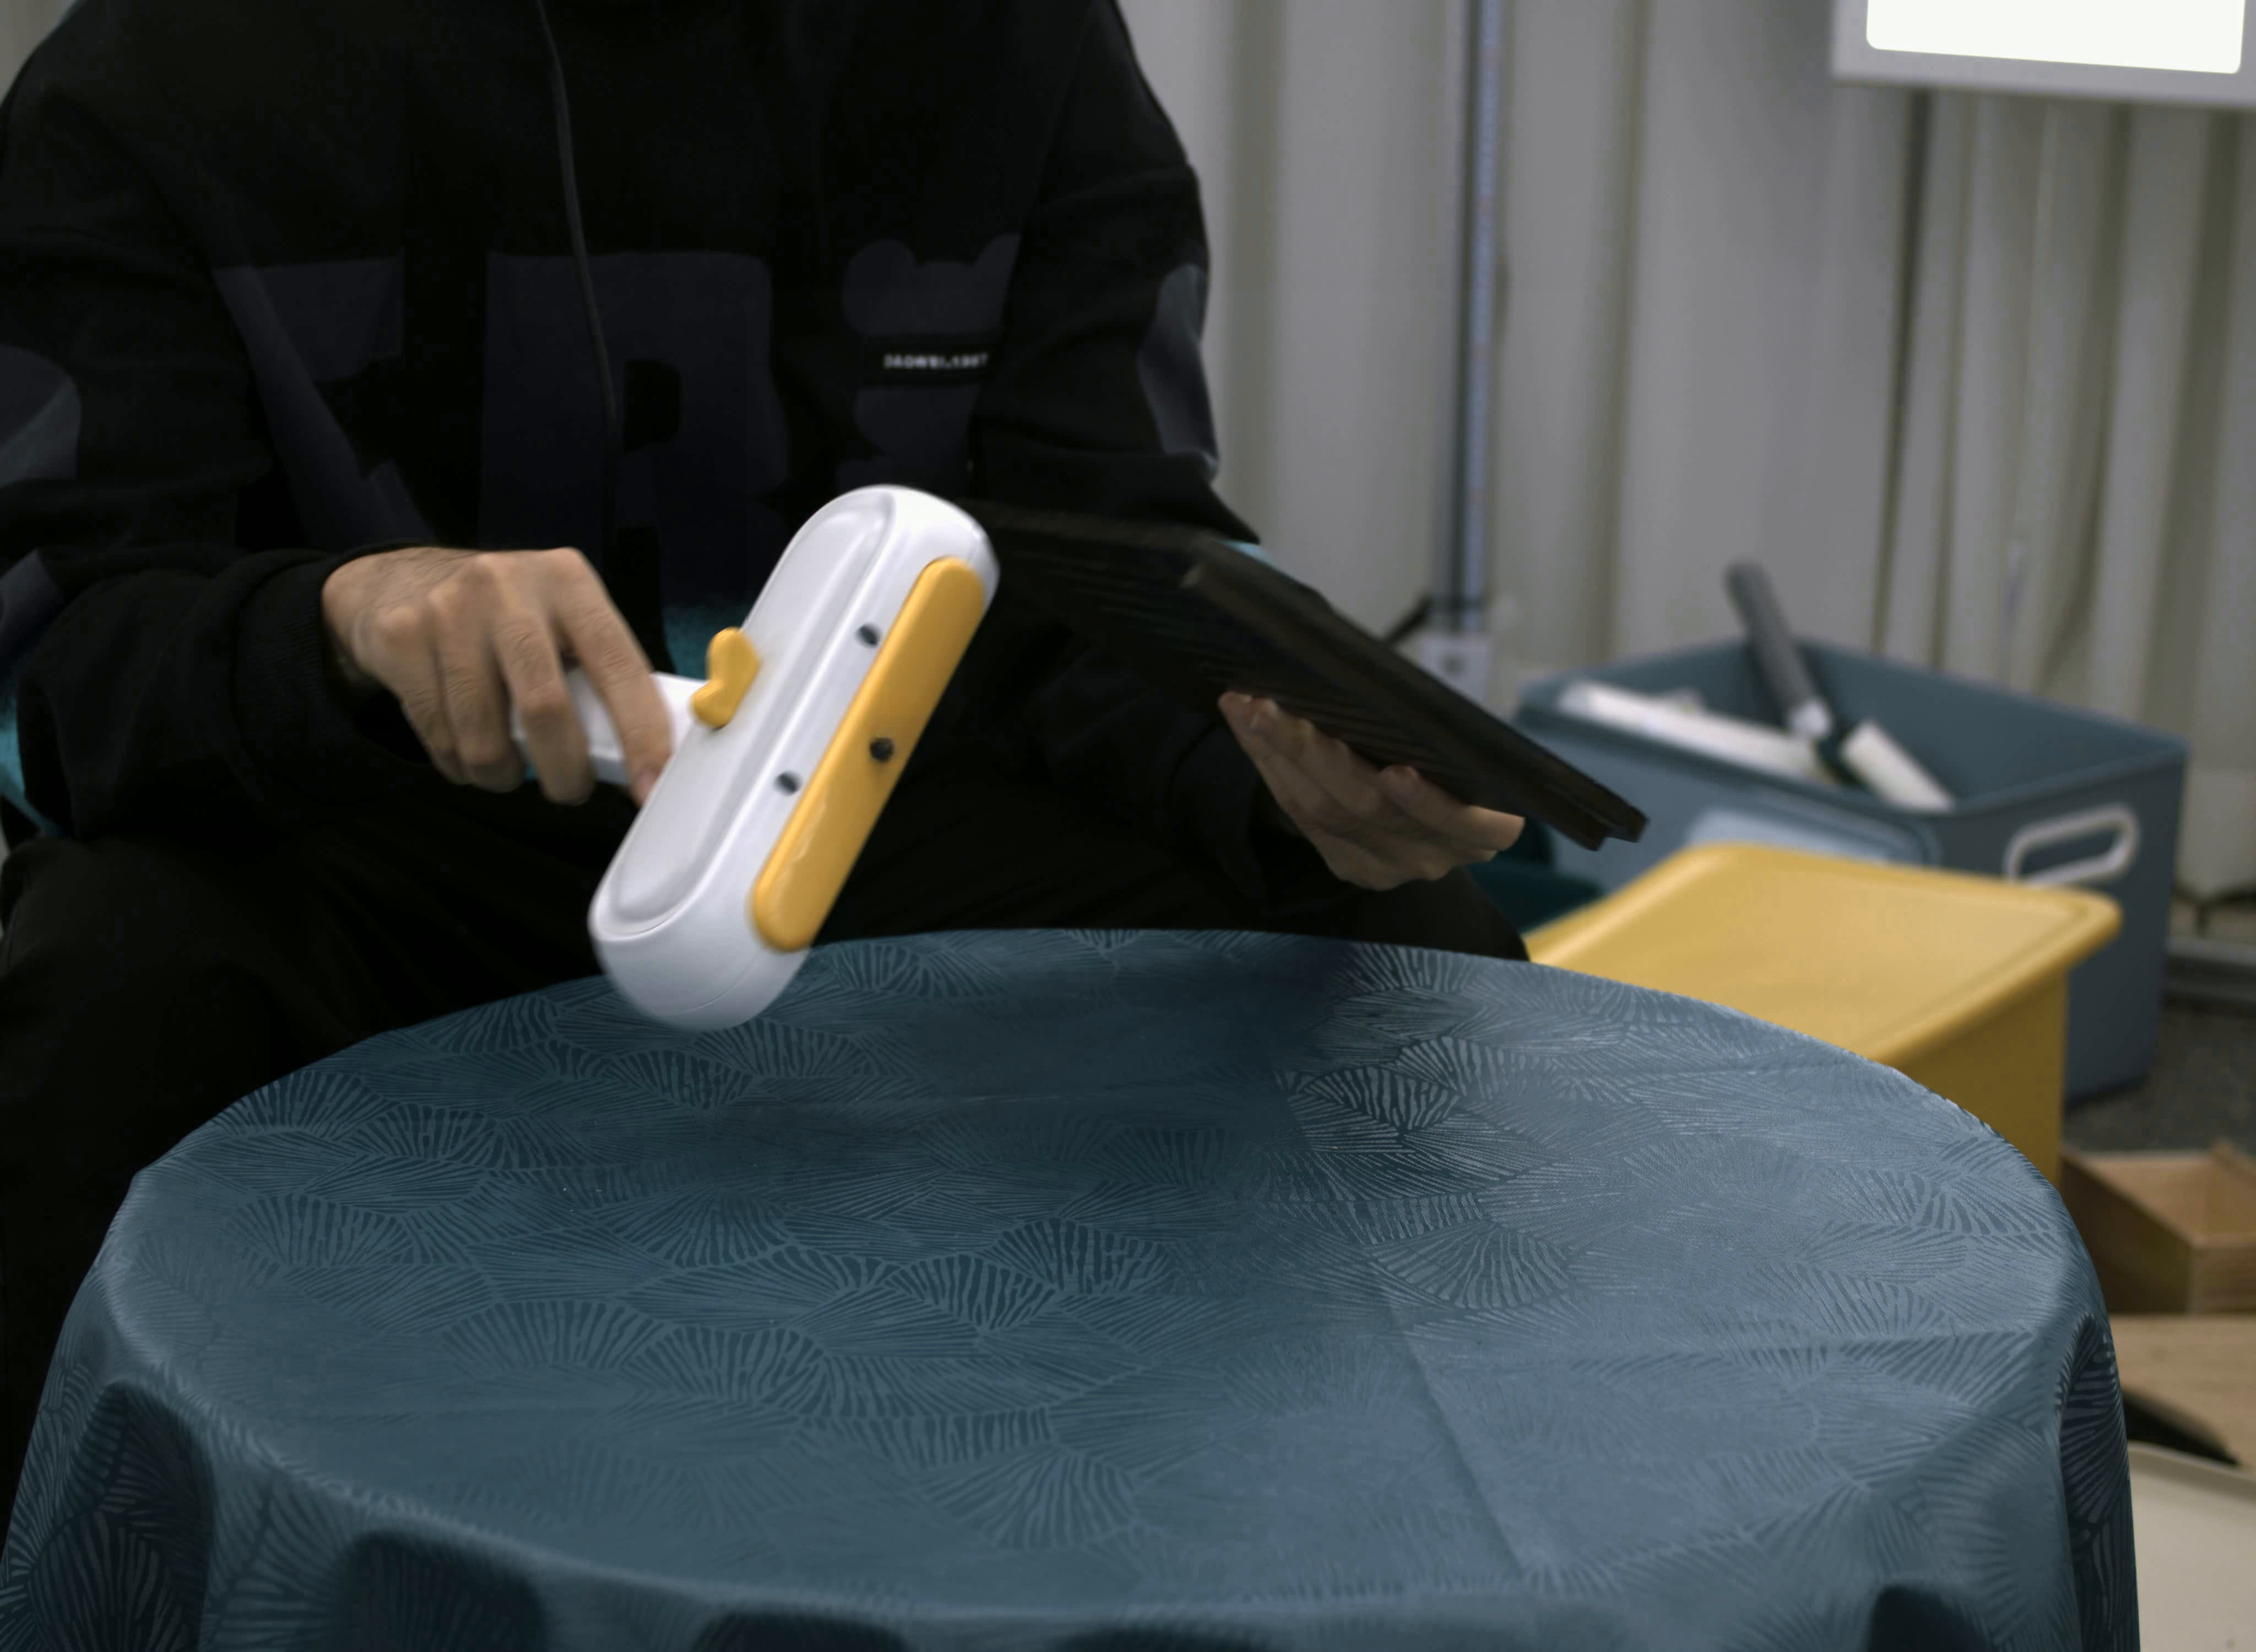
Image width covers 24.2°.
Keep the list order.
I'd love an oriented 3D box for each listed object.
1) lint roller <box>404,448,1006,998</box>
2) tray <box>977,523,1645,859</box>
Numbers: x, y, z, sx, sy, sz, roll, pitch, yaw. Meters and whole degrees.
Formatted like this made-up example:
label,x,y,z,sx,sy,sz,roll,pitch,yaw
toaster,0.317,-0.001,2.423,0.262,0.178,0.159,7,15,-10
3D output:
label,x,y,z,sx,sy,sz,roll,pitch,yaw
lint roller,-0.147,-0.036,1.679,0.190,0.192,0.075,-2,-32,38
tray,0.044,-0.046,1.701,0.171,0.018,0.303,31,-5,-17
